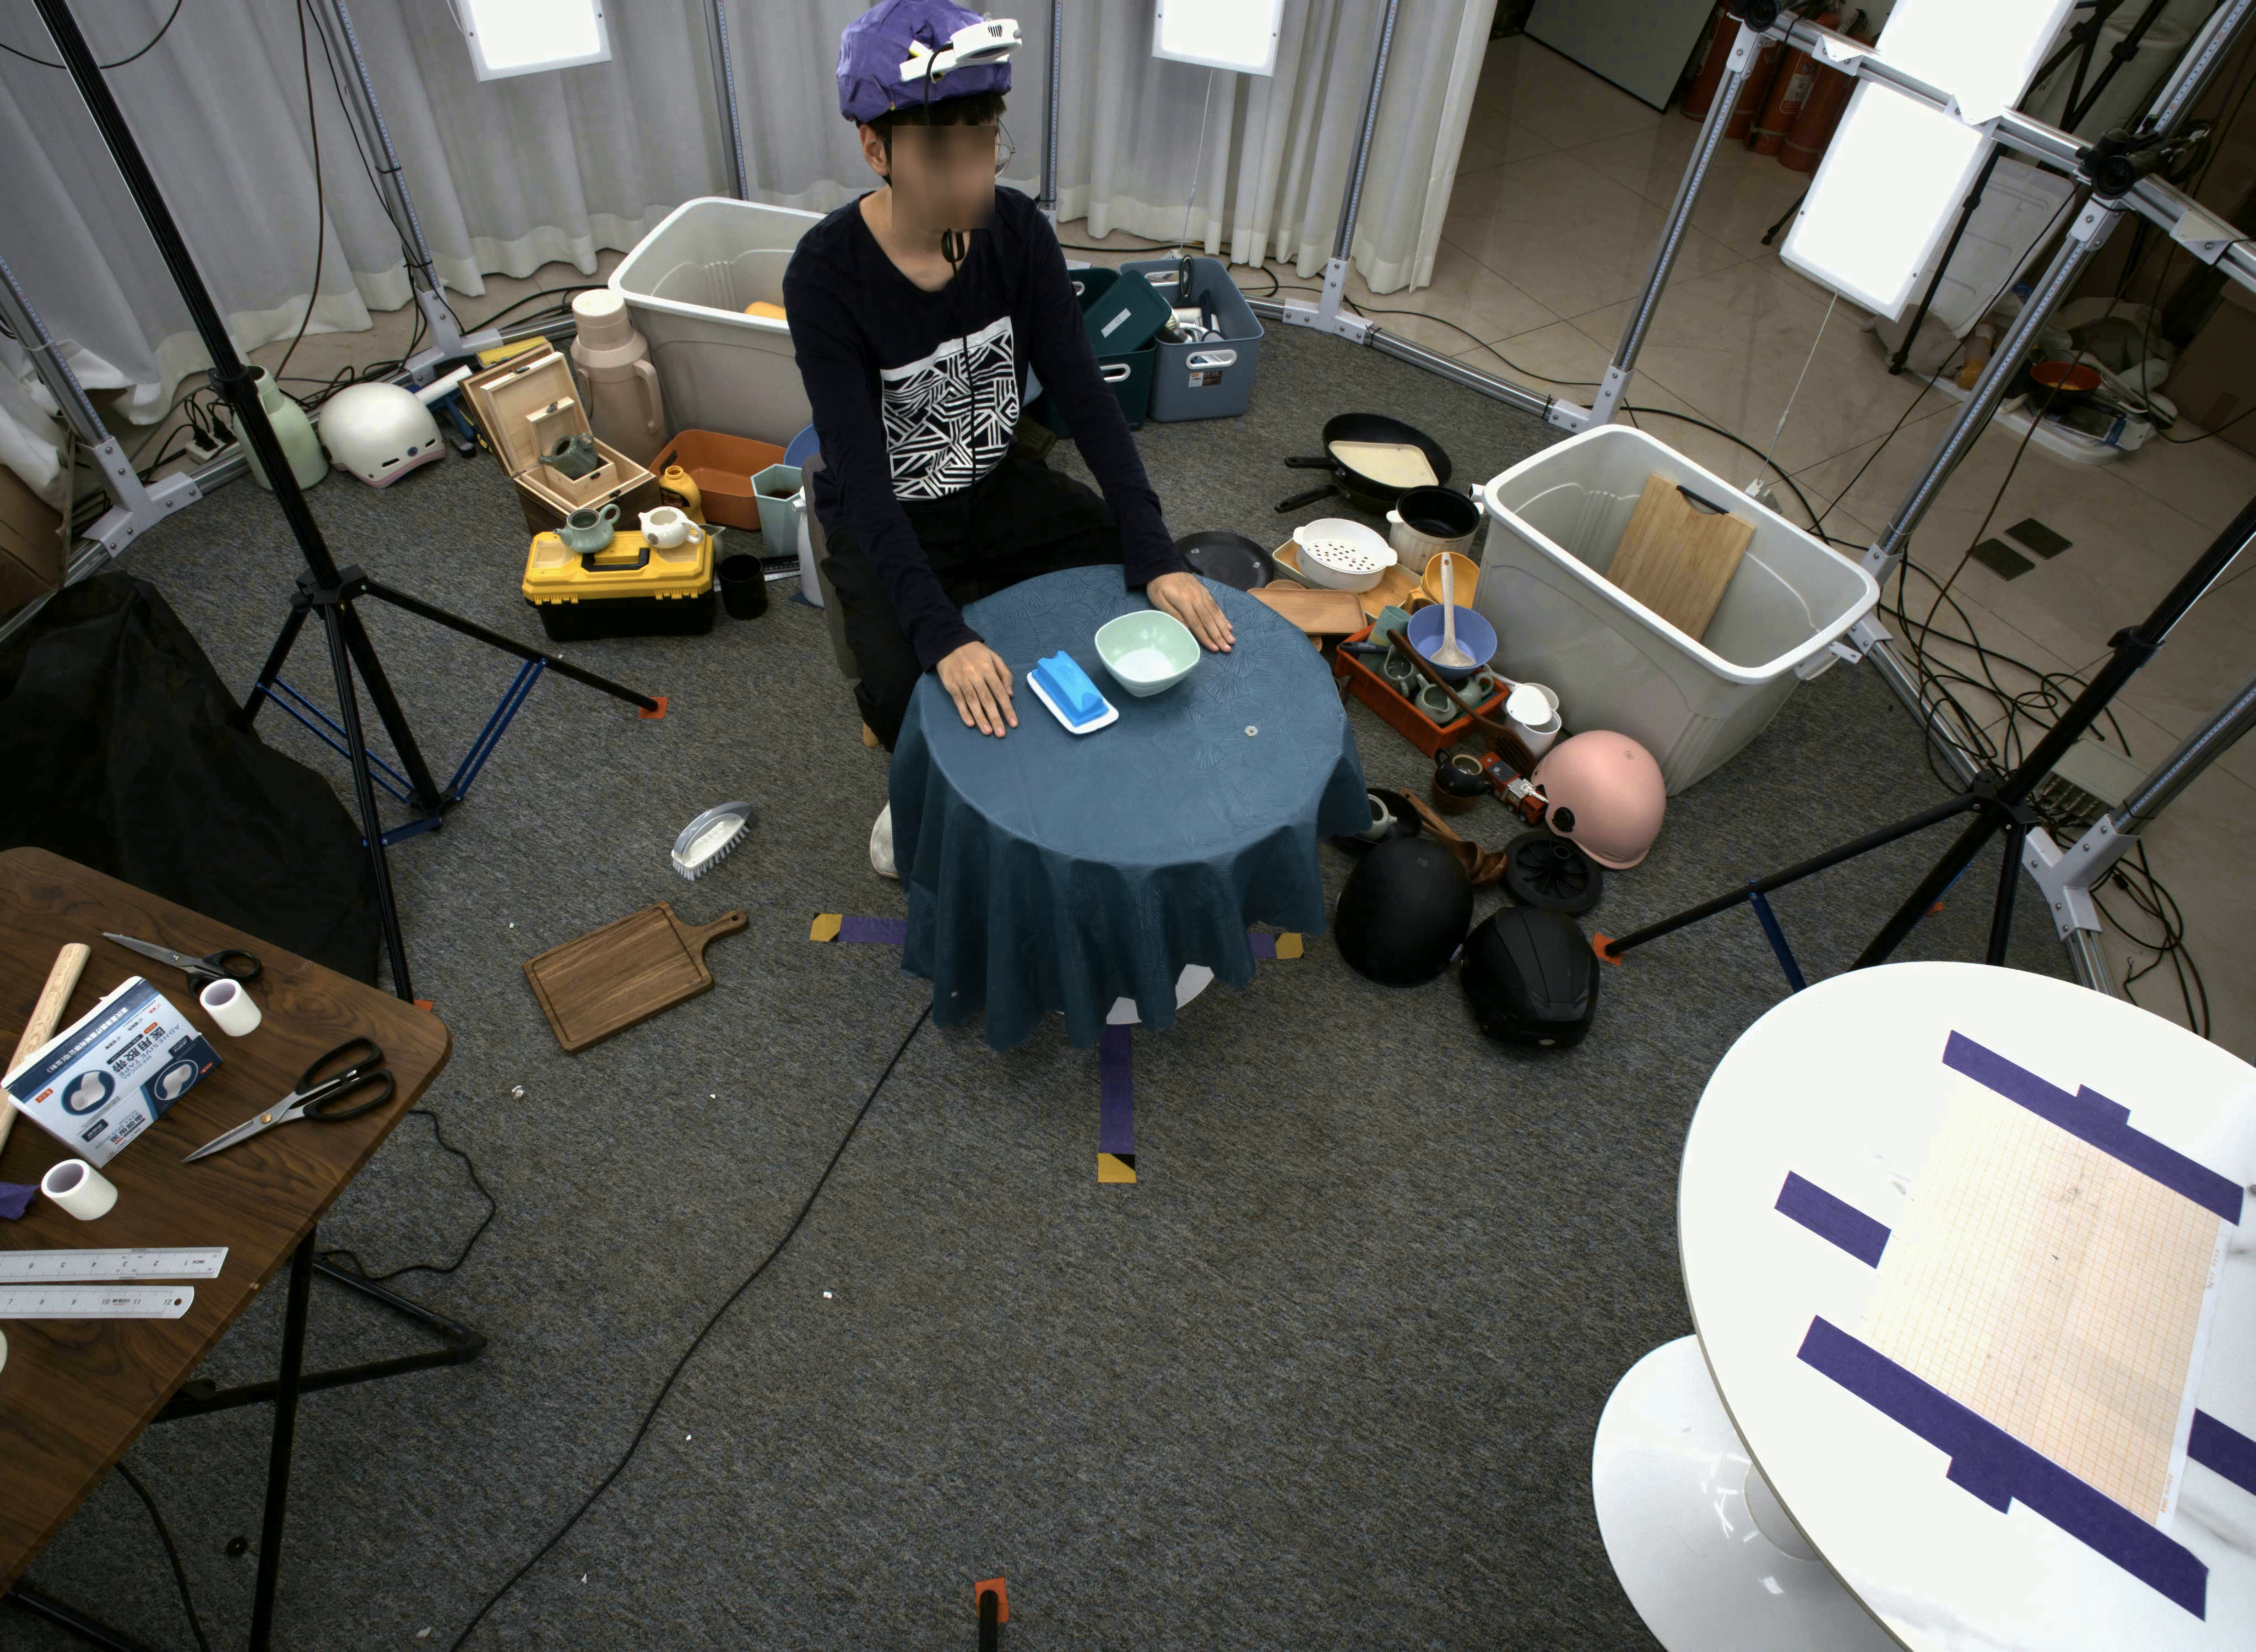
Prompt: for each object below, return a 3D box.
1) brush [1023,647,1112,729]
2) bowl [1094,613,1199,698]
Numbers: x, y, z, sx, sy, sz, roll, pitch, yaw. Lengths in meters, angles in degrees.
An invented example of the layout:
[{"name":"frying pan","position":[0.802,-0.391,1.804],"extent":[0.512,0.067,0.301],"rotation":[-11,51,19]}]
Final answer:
[{"name":"brush","position":[-0.083,-0.200,1.797],"extent":[0.084,0.054,0.147],"rotation":[-20,55,-24]},{"name":"bowl","position":[0.025,-0.237,1.840],"extent":[0.151,0.057,0.155],"rotation":[3,47,-3]}]
